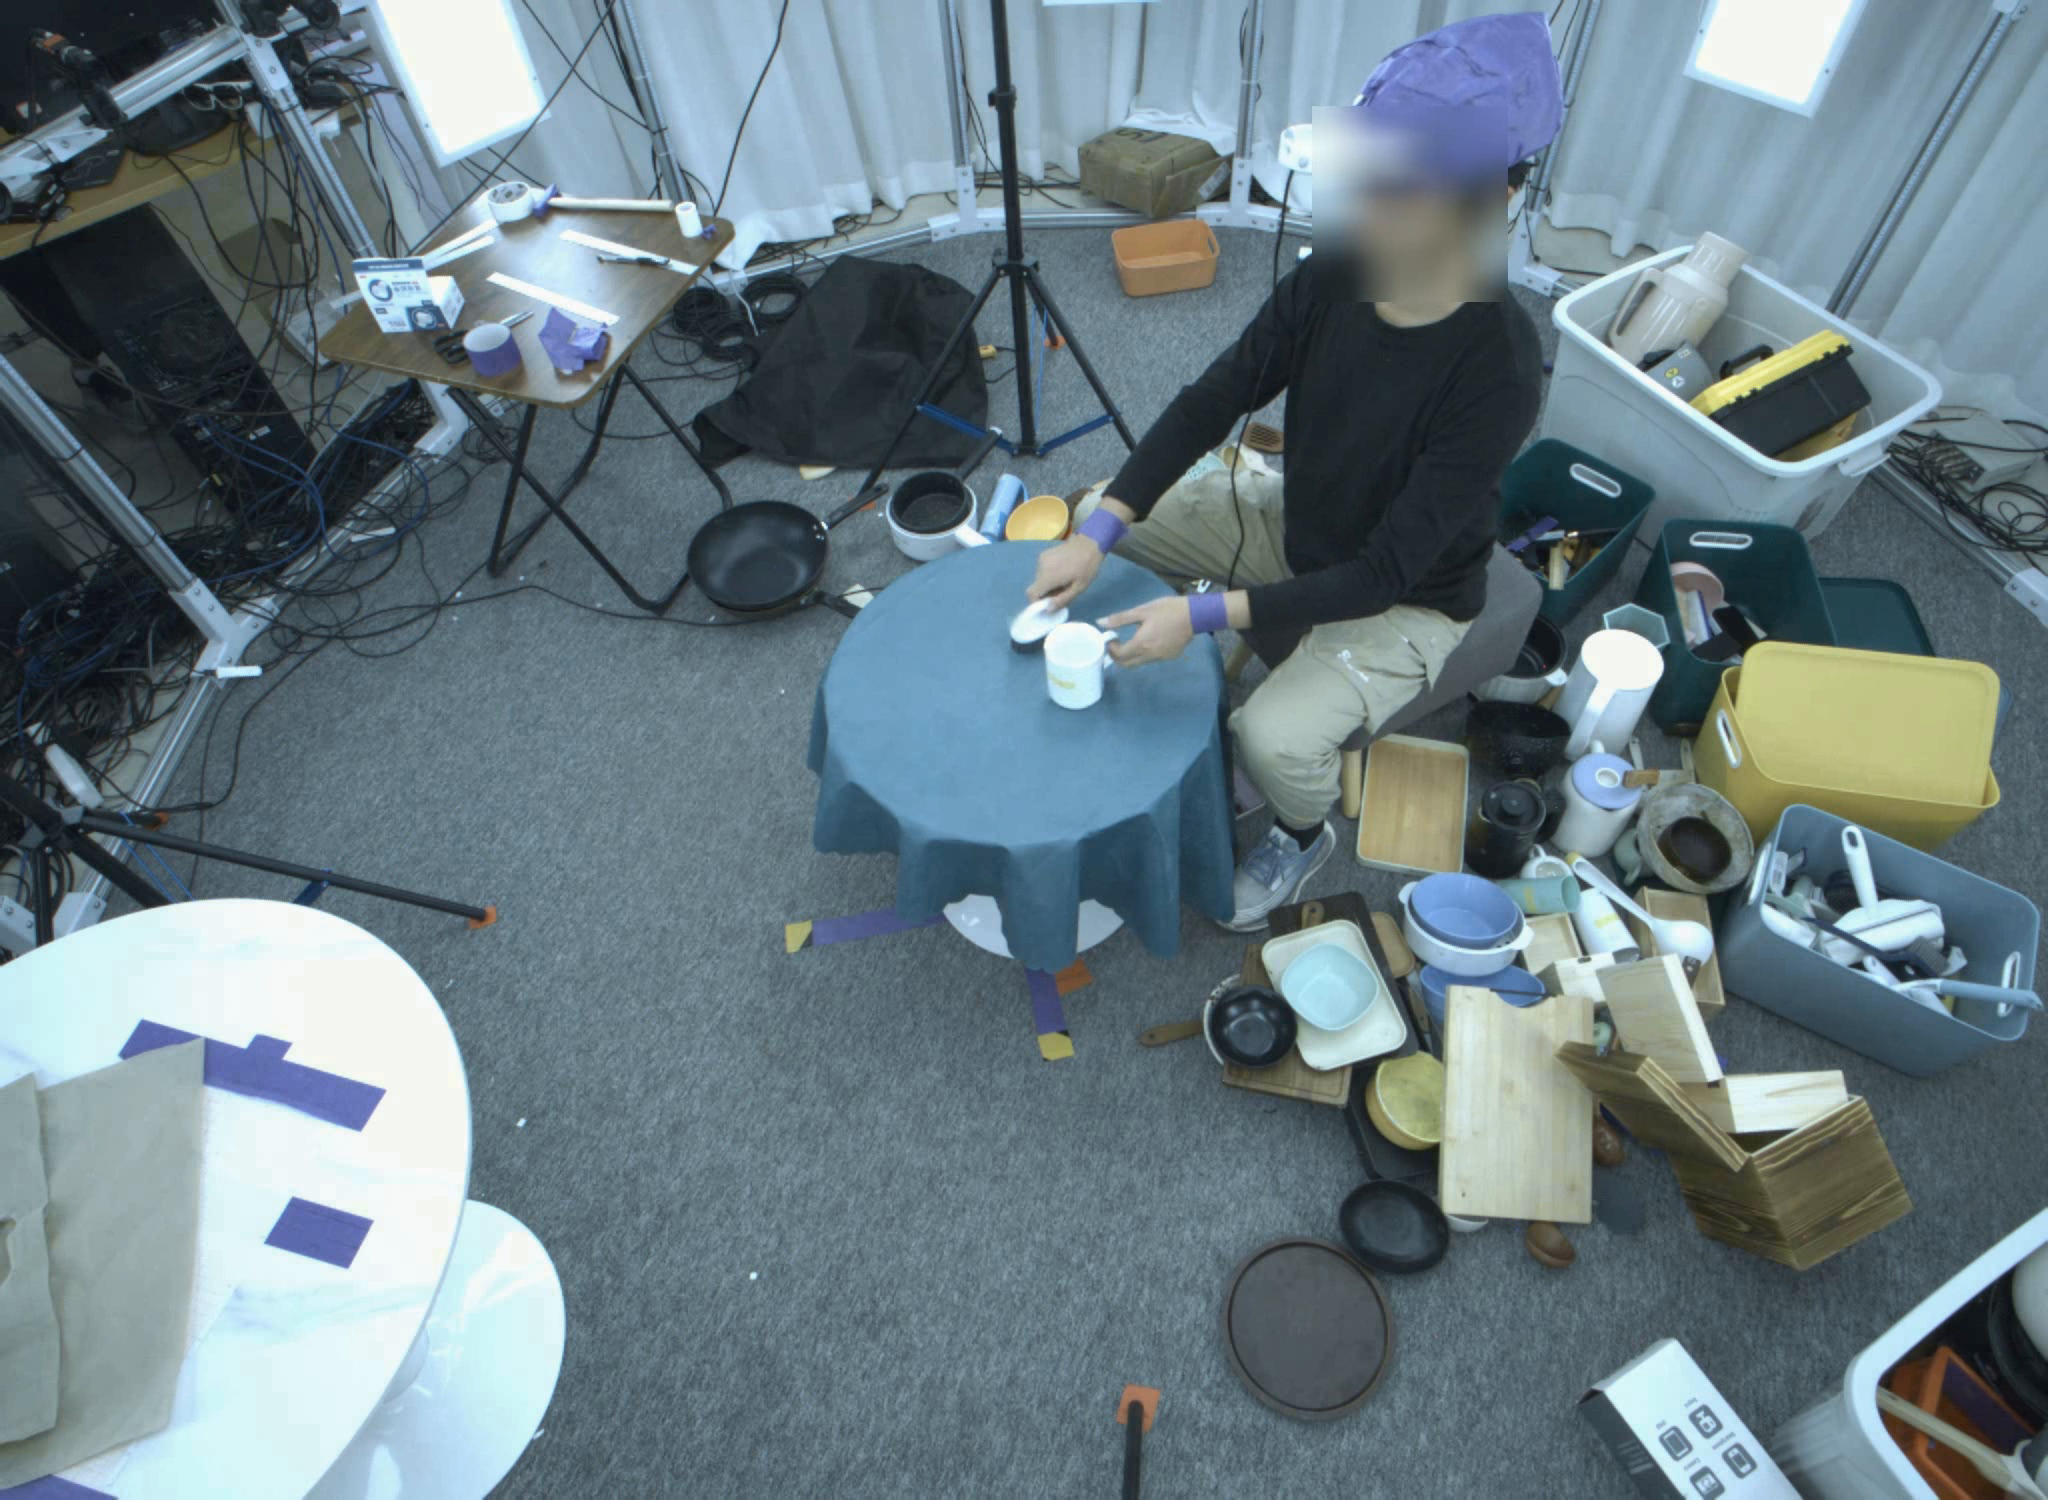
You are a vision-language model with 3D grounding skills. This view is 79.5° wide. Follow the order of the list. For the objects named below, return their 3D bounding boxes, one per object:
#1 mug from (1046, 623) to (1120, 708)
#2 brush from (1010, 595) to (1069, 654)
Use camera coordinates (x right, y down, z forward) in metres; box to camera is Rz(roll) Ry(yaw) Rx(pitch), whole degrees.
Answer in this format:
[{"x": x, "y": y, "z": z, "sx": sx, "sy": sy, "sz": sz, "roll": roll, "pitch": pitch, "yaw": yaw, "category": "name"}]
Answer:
[{"x": 0.089, "y": -0.130, "z": 1.815, "sx": 0.119, "sy": 0.103, "sz": 0.083, "roll": -29, "pitch": 58, "yaw": -18, "category": "mug"}, {"x": 0.023, "y": -0.200, "z": 1.885, "sx": 0.100, "sy": 0.073, "sz": 0.049, "roll": -29, "pitch": 60, "yaw": -16, "category": "brush"}]
